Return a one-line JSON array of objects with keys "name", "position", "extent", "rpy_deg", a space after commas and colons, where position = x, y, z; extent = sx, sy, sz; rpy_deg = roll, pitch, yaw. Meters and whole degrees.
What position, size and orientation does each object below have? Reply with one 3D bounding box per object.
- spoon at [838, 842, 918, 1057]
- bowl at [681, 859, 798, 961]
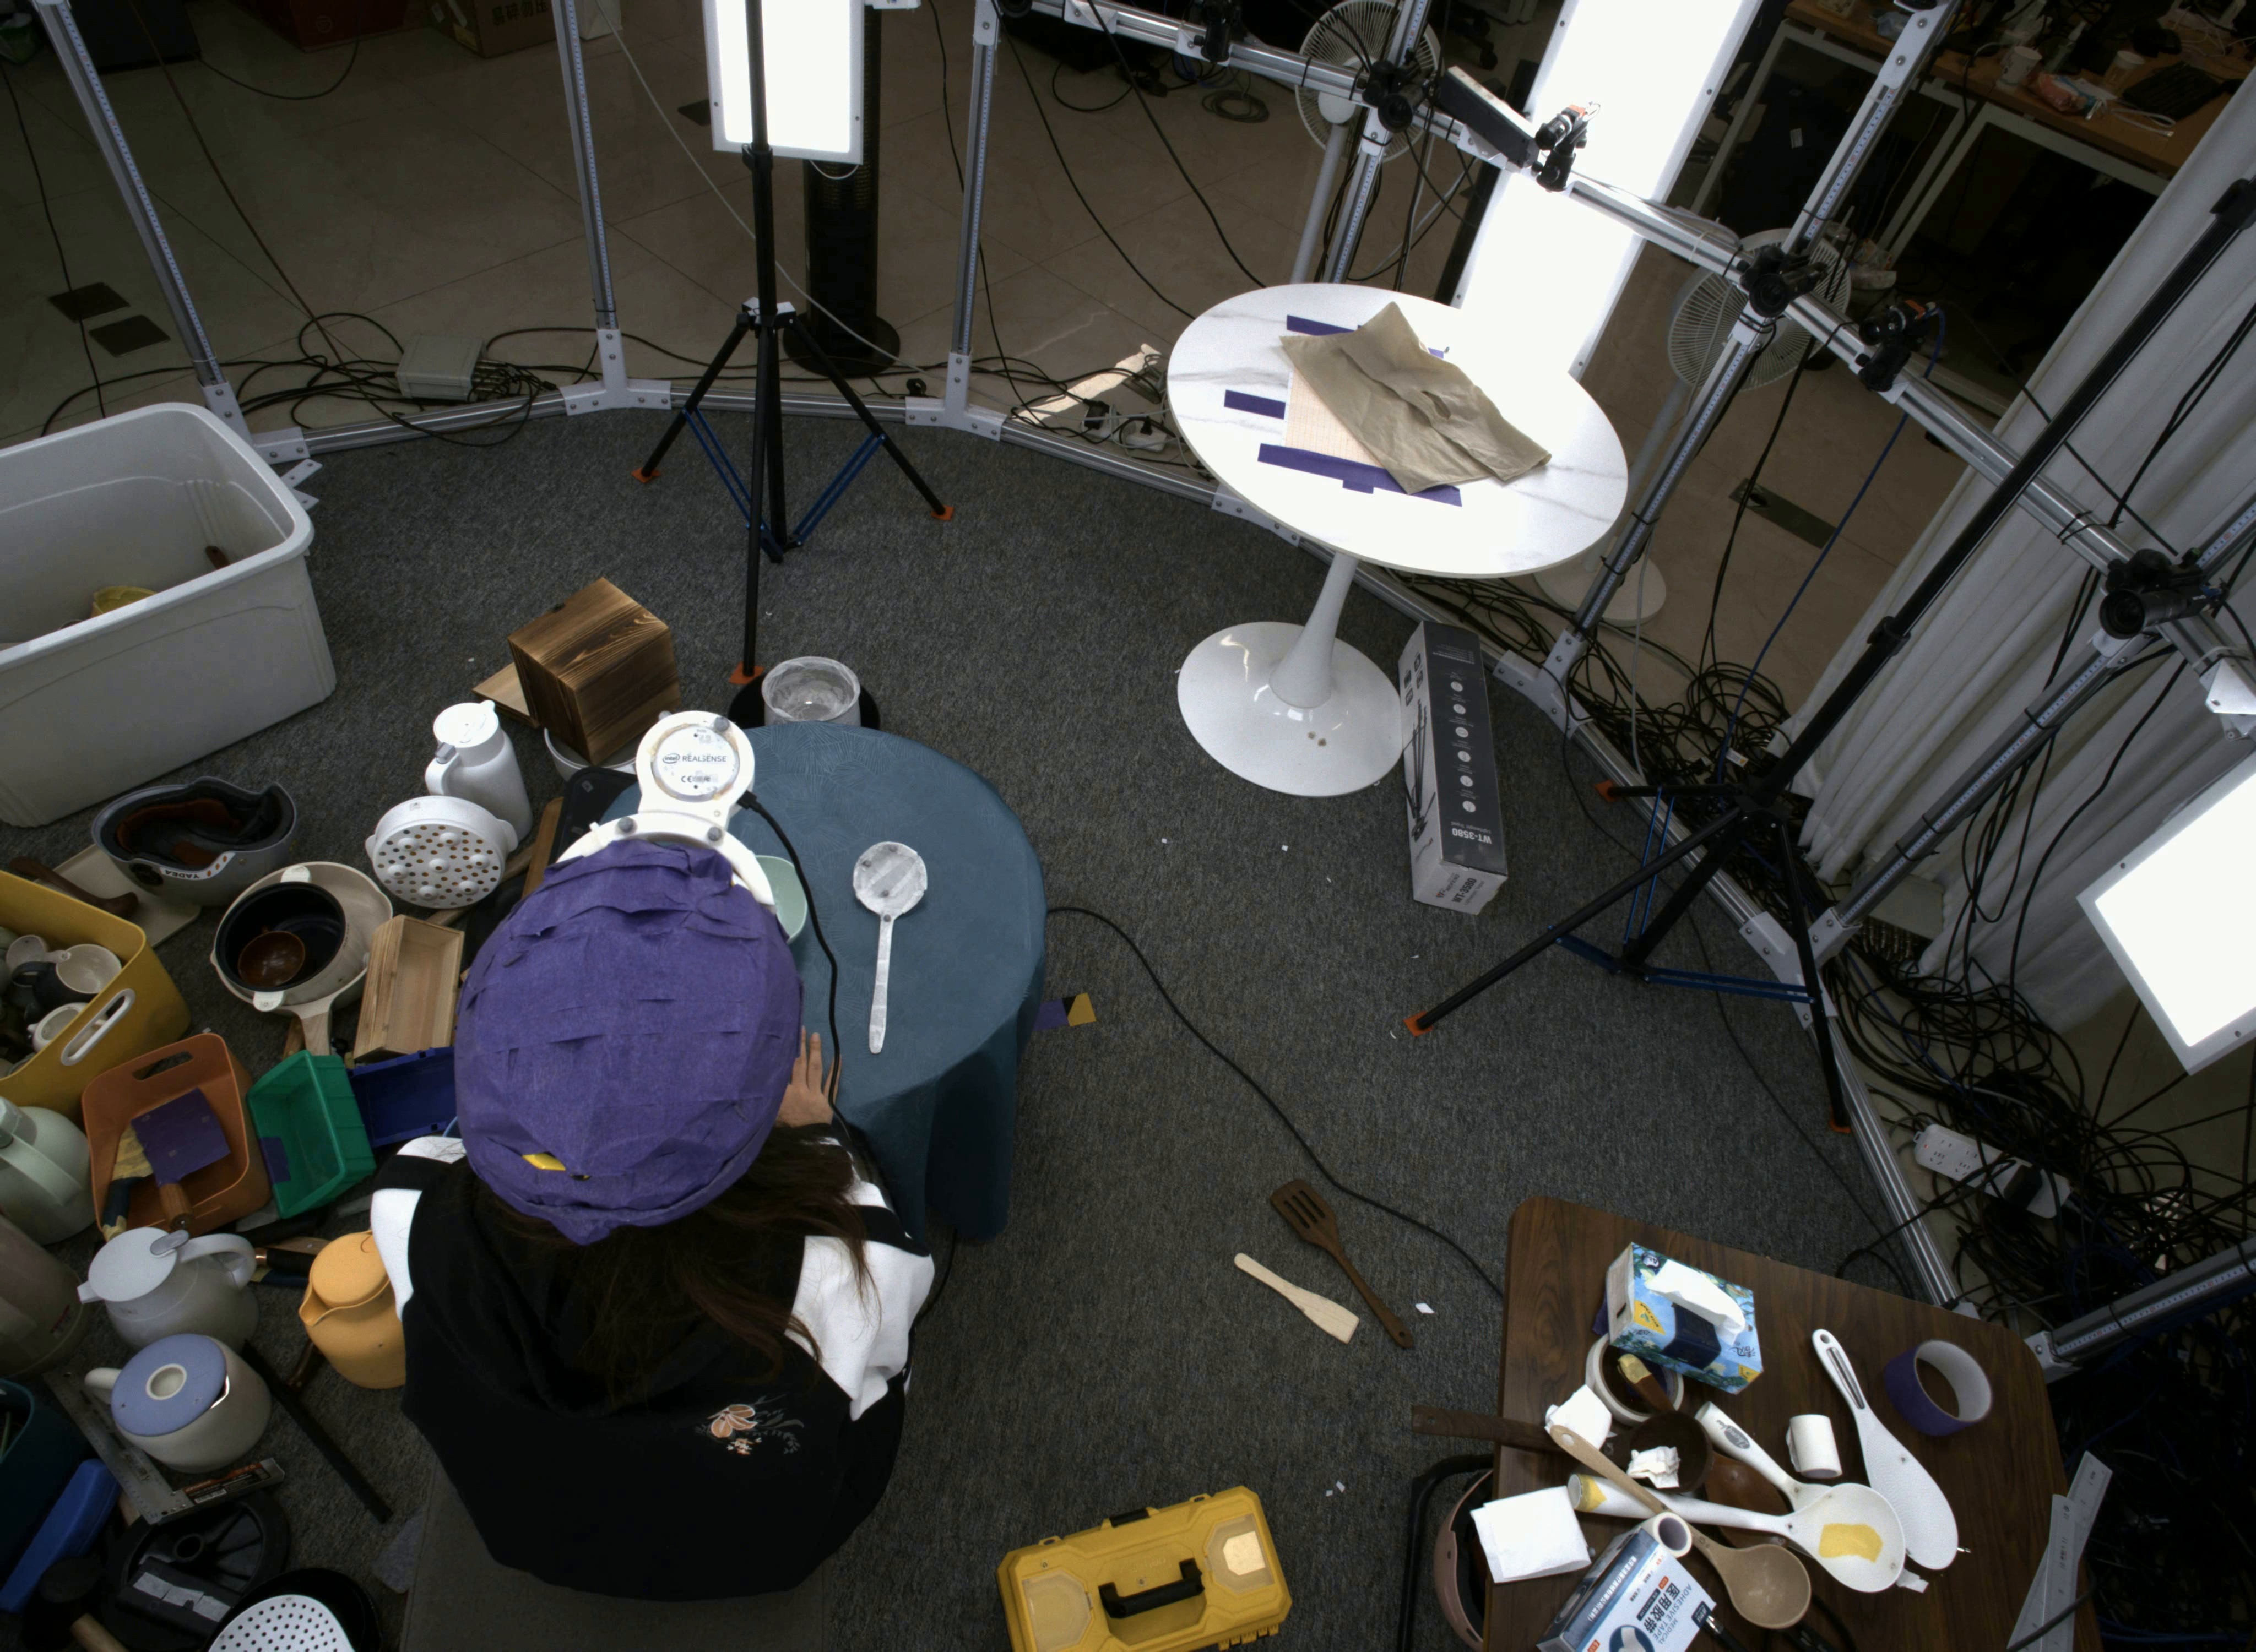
[{"name": "spoon", "position": [-0.319, 0.145, 1.601], "extent": [0.100, 0.061, 0.272], "rpy_deg": [4, 53, -5]}, {"name": "bowl", "position": [-0.475, 0.112, 1.587], "extent": [0.151, 0.060, 0.149], "rpy_deg": [8, 52, -9]}]
